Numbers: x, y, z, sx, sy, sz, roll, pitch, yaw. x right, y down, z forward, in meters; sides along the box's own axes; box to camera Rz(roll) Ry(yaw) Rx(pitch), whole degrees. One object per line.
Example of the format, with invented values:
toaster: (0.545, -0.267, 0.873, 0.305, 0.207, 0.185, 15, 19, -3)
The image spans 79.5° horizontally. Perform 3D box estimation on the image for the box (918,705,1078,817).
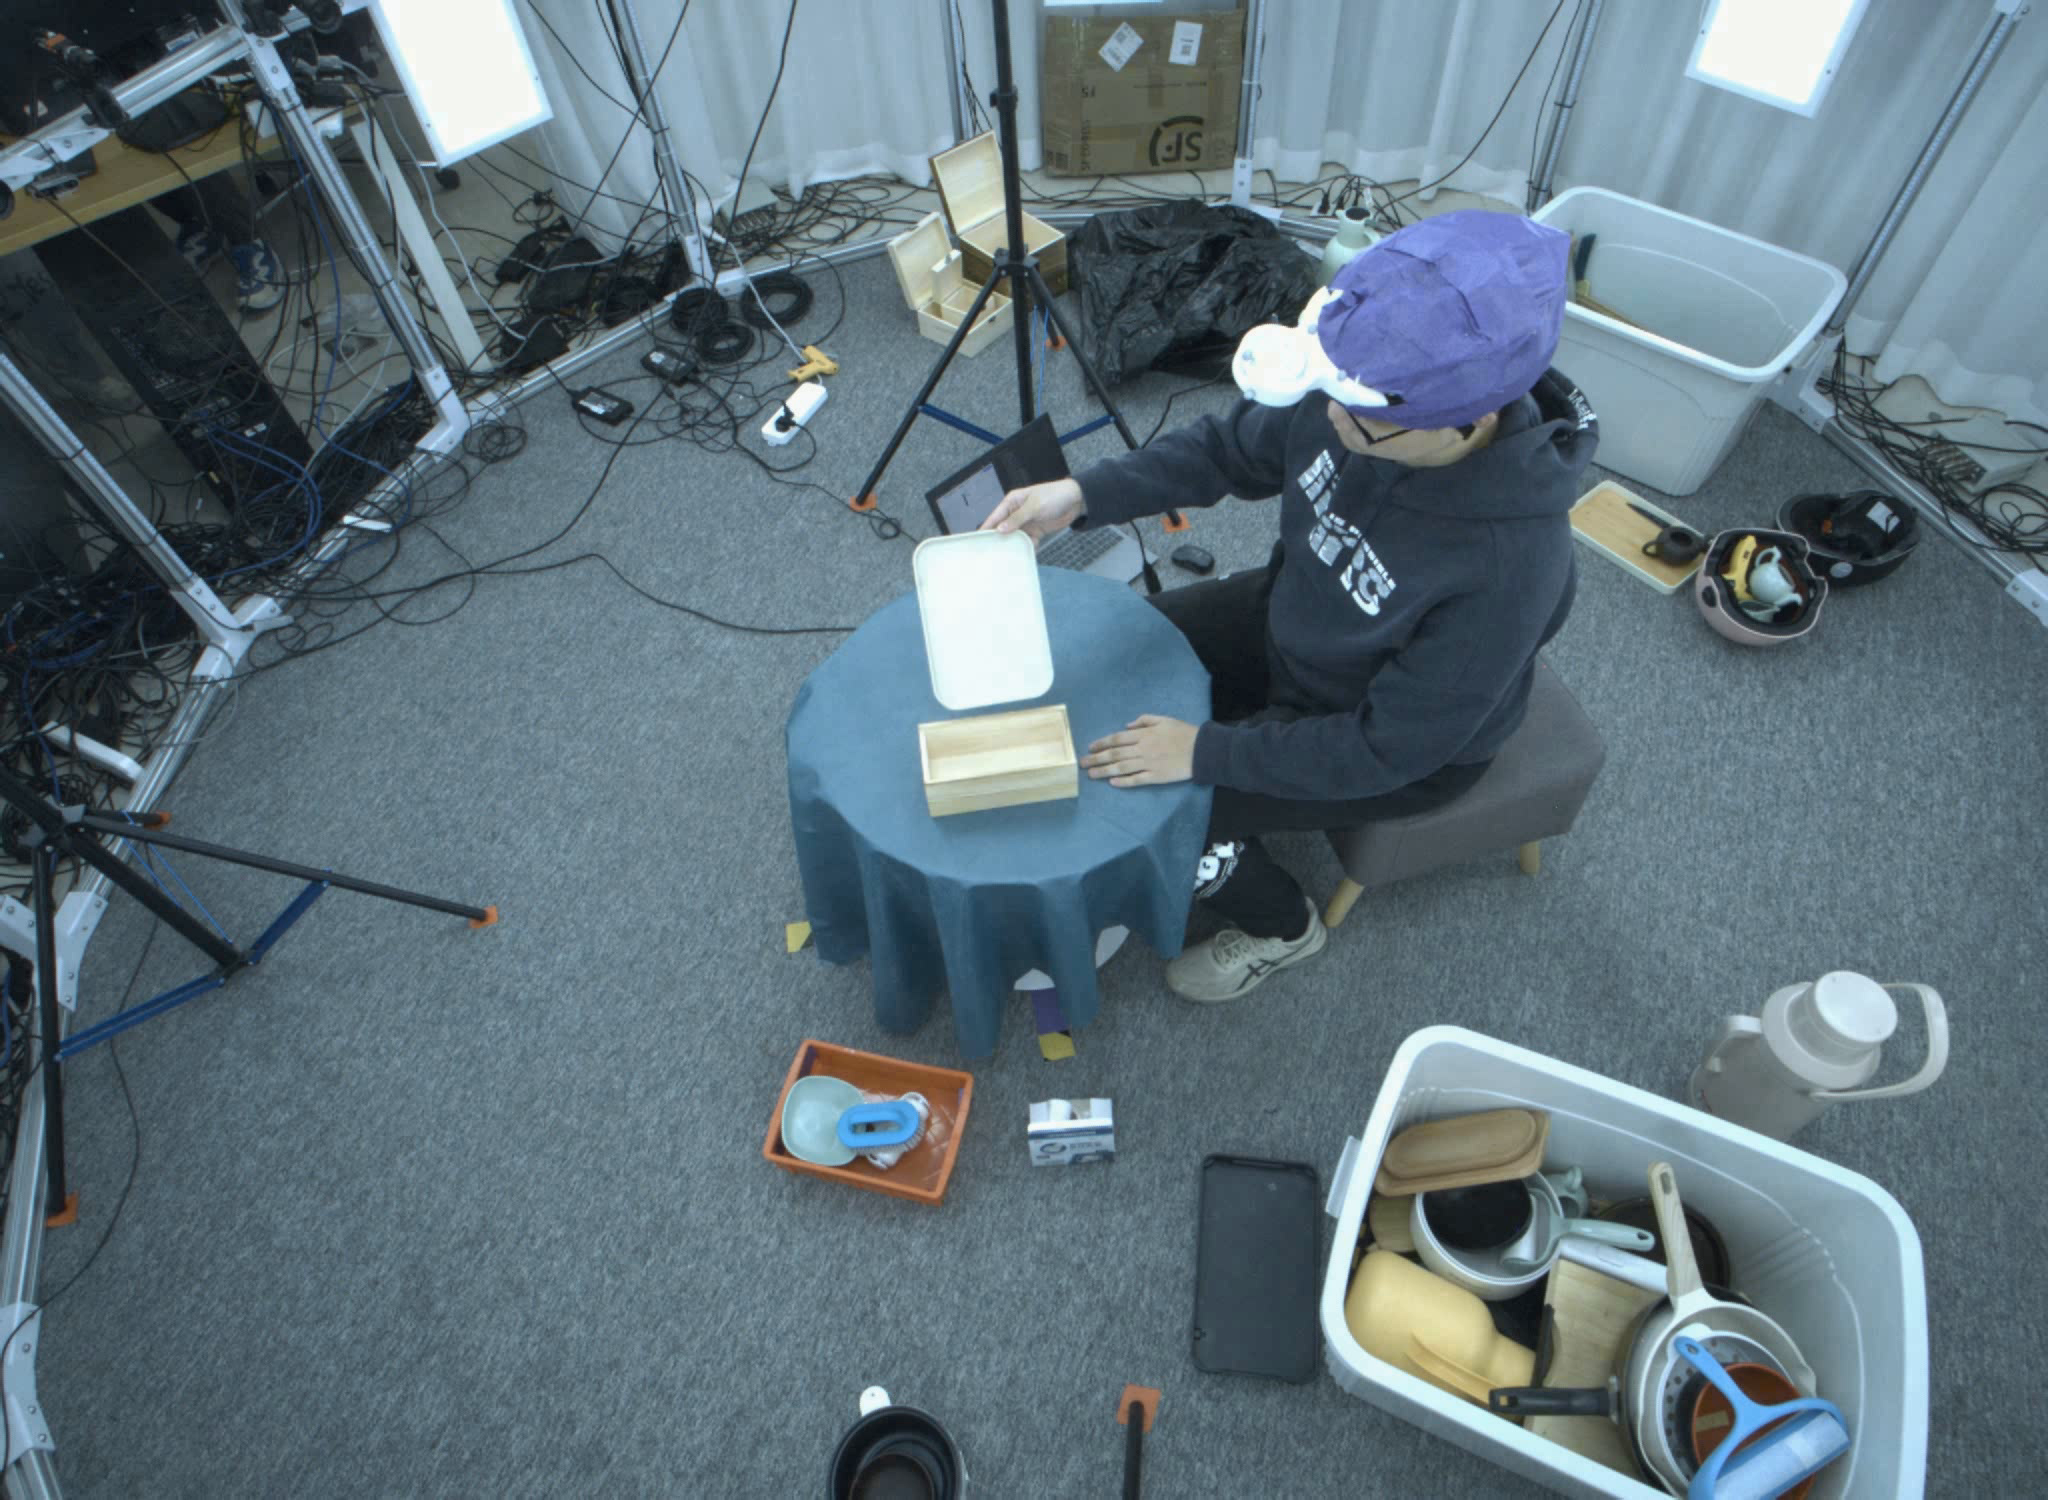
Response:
box: (-0.036, 0.015, 1.729, 0.212, 0.081, 0.106, -8, 55, -4)

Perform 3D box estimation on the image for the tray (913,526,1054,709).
tray: (-0.057, -0.183, 1.700, 0.172, 0.017, 0.240, -10, 94, -11)
